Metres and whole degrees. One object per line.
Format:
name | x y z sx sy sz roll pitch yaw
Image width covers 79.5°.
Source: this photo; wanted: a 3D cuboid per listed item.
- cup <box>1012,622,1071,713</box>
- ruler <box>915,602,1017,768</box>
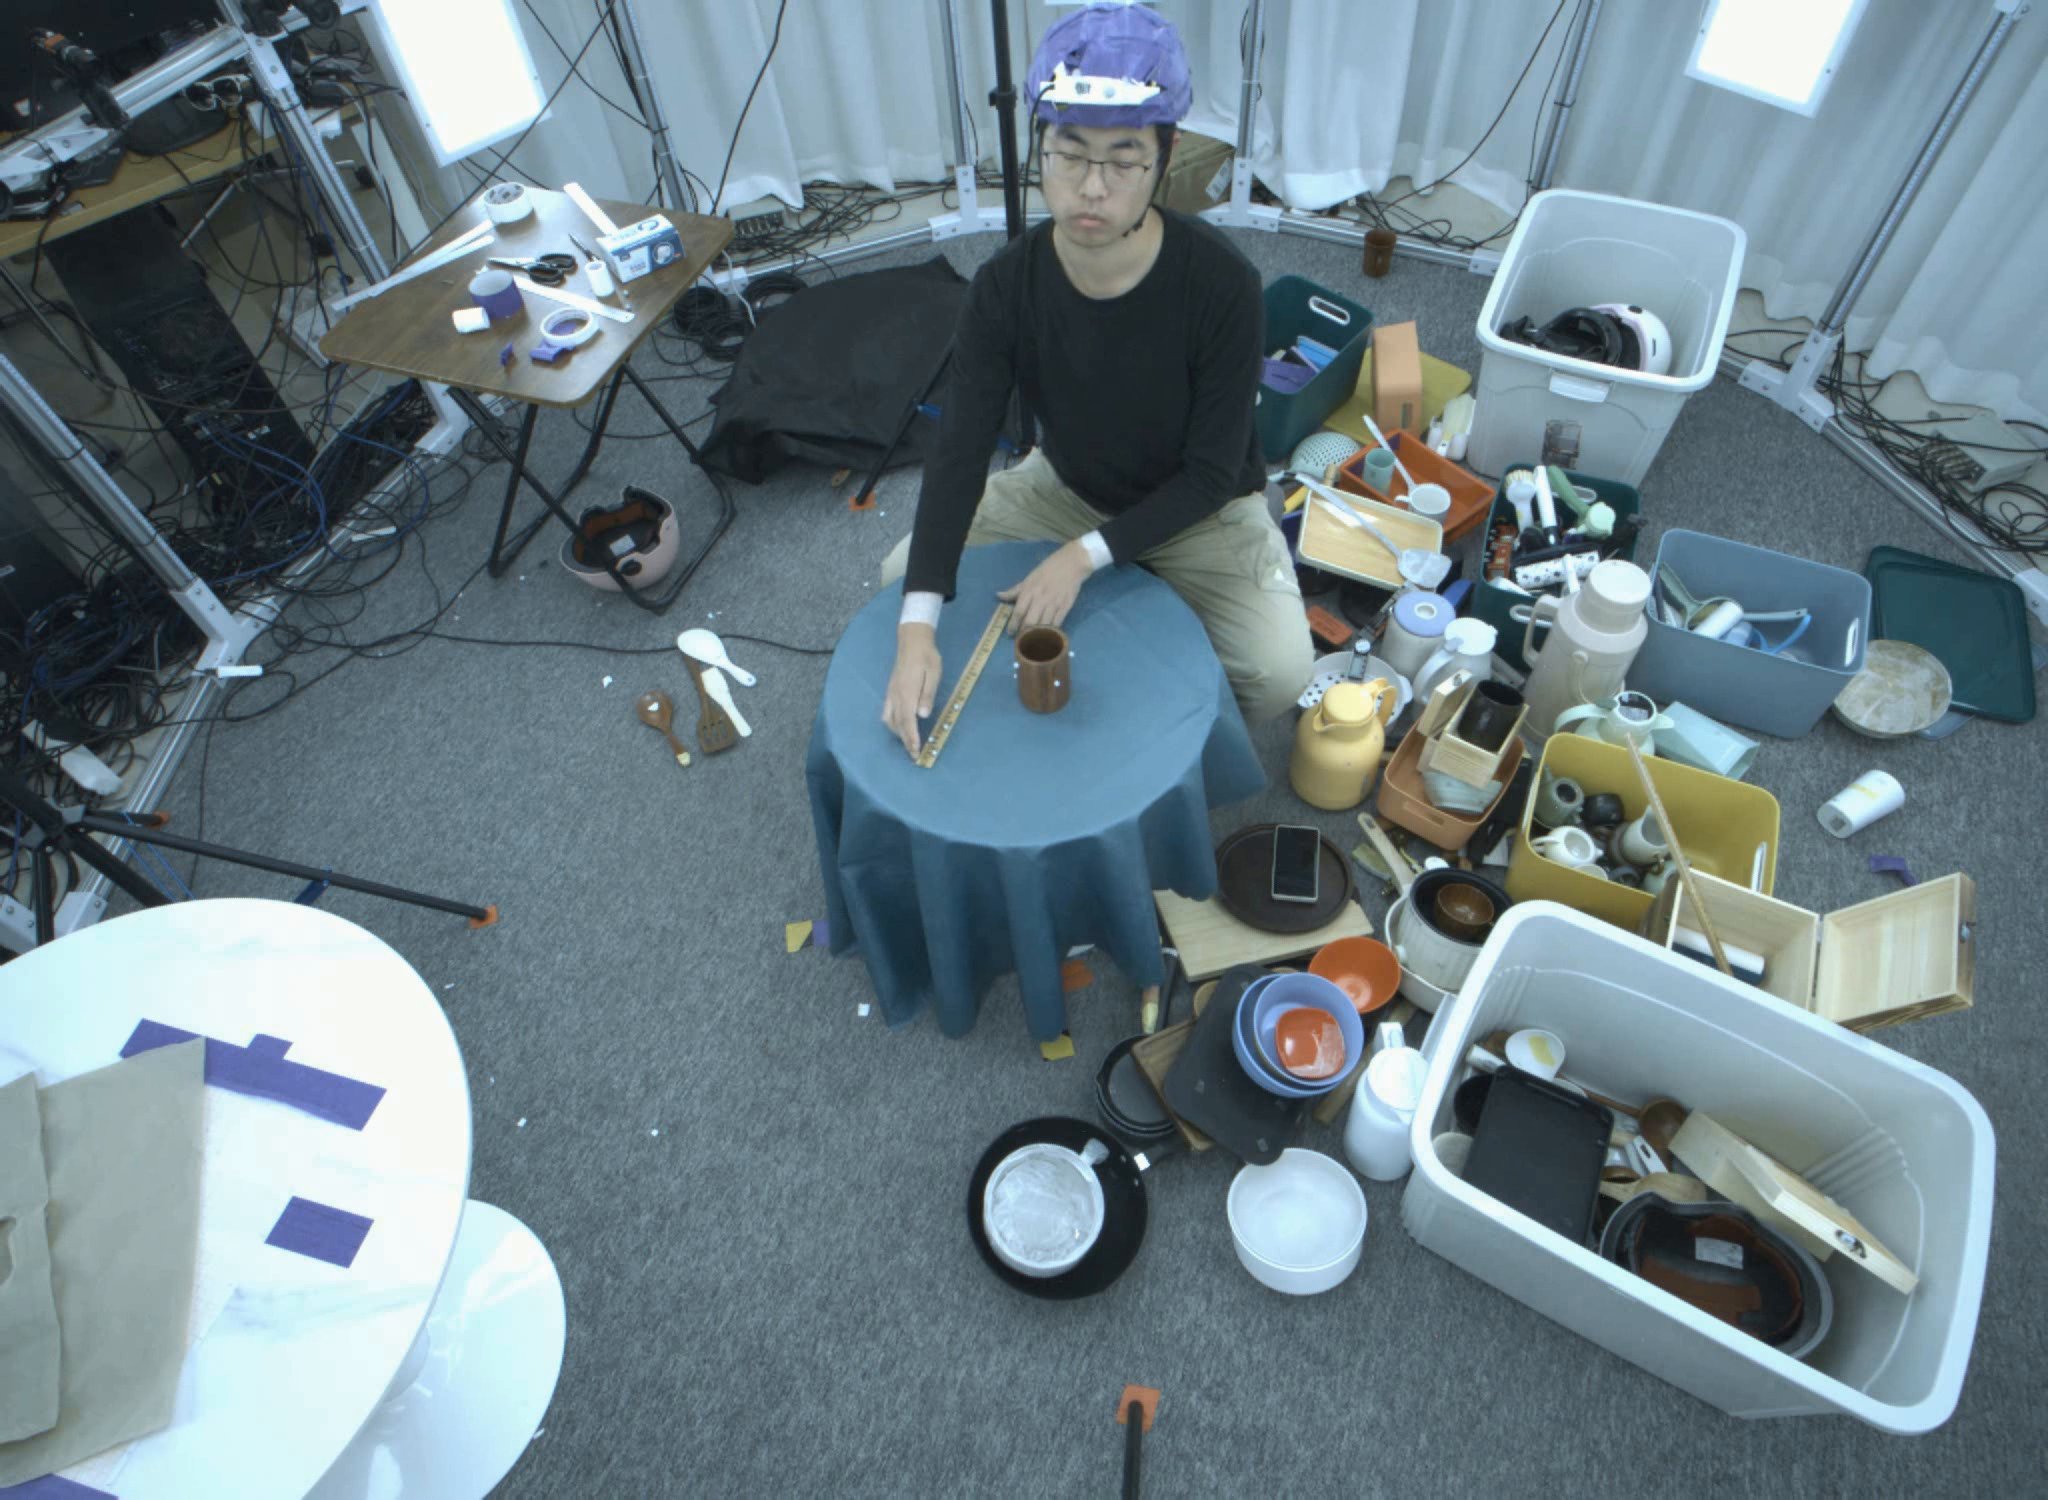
cup | 0.026 -0.120 1.800 0.087 0.119 0.087 0 55 2
ruler | -0.085 -0.107 1.860 0.027 0.022 0.331 21 58 8
